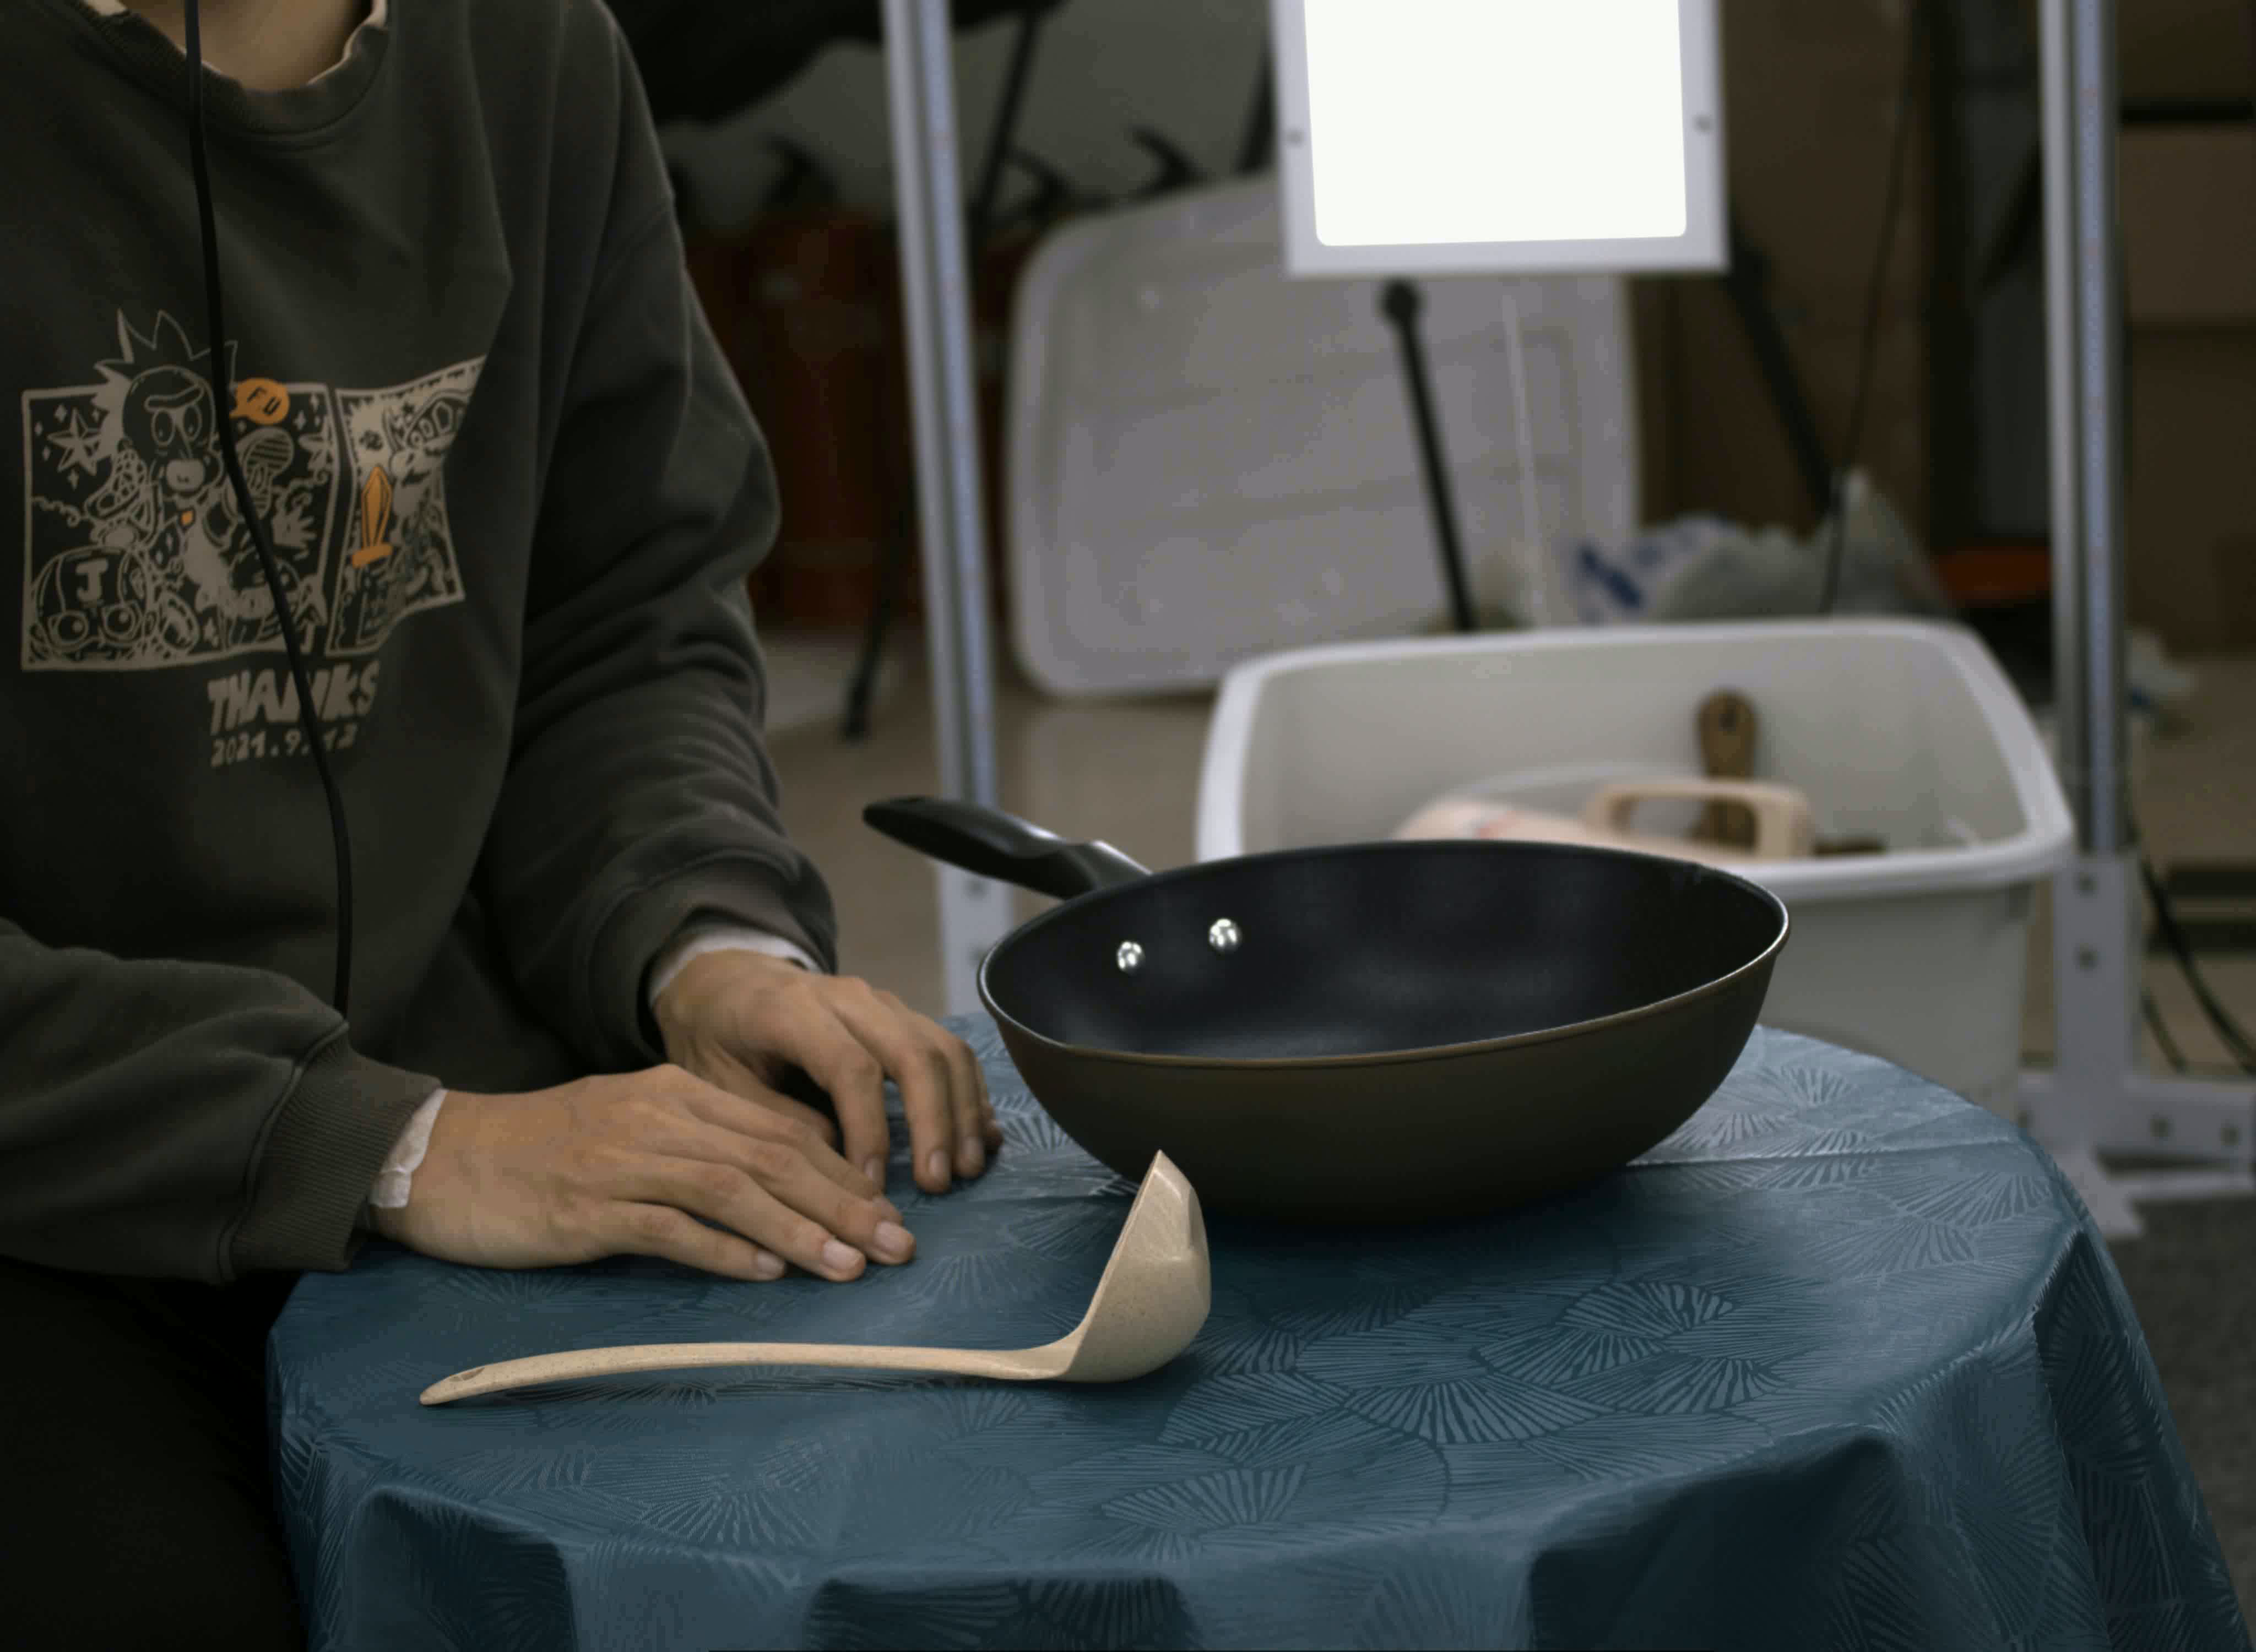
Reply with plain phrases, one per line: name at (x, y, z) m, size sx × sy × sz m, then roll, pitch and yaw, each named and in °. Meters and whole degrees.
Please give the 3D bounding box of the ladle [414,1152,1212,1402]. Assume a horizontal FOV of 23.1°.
ladle at (-0.101, 0.141, 1.720) m, size 0.255 × 0.073 × 0.071 m, roll -2°, pitch 16°, yaw 7°

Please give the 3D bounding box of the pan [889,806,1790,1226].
pan at (0.038, 0.063, 1.968) m, size 0.281 × 0.087 × 0.472 m, roll -14°, pitch 15°, yaw -31°
